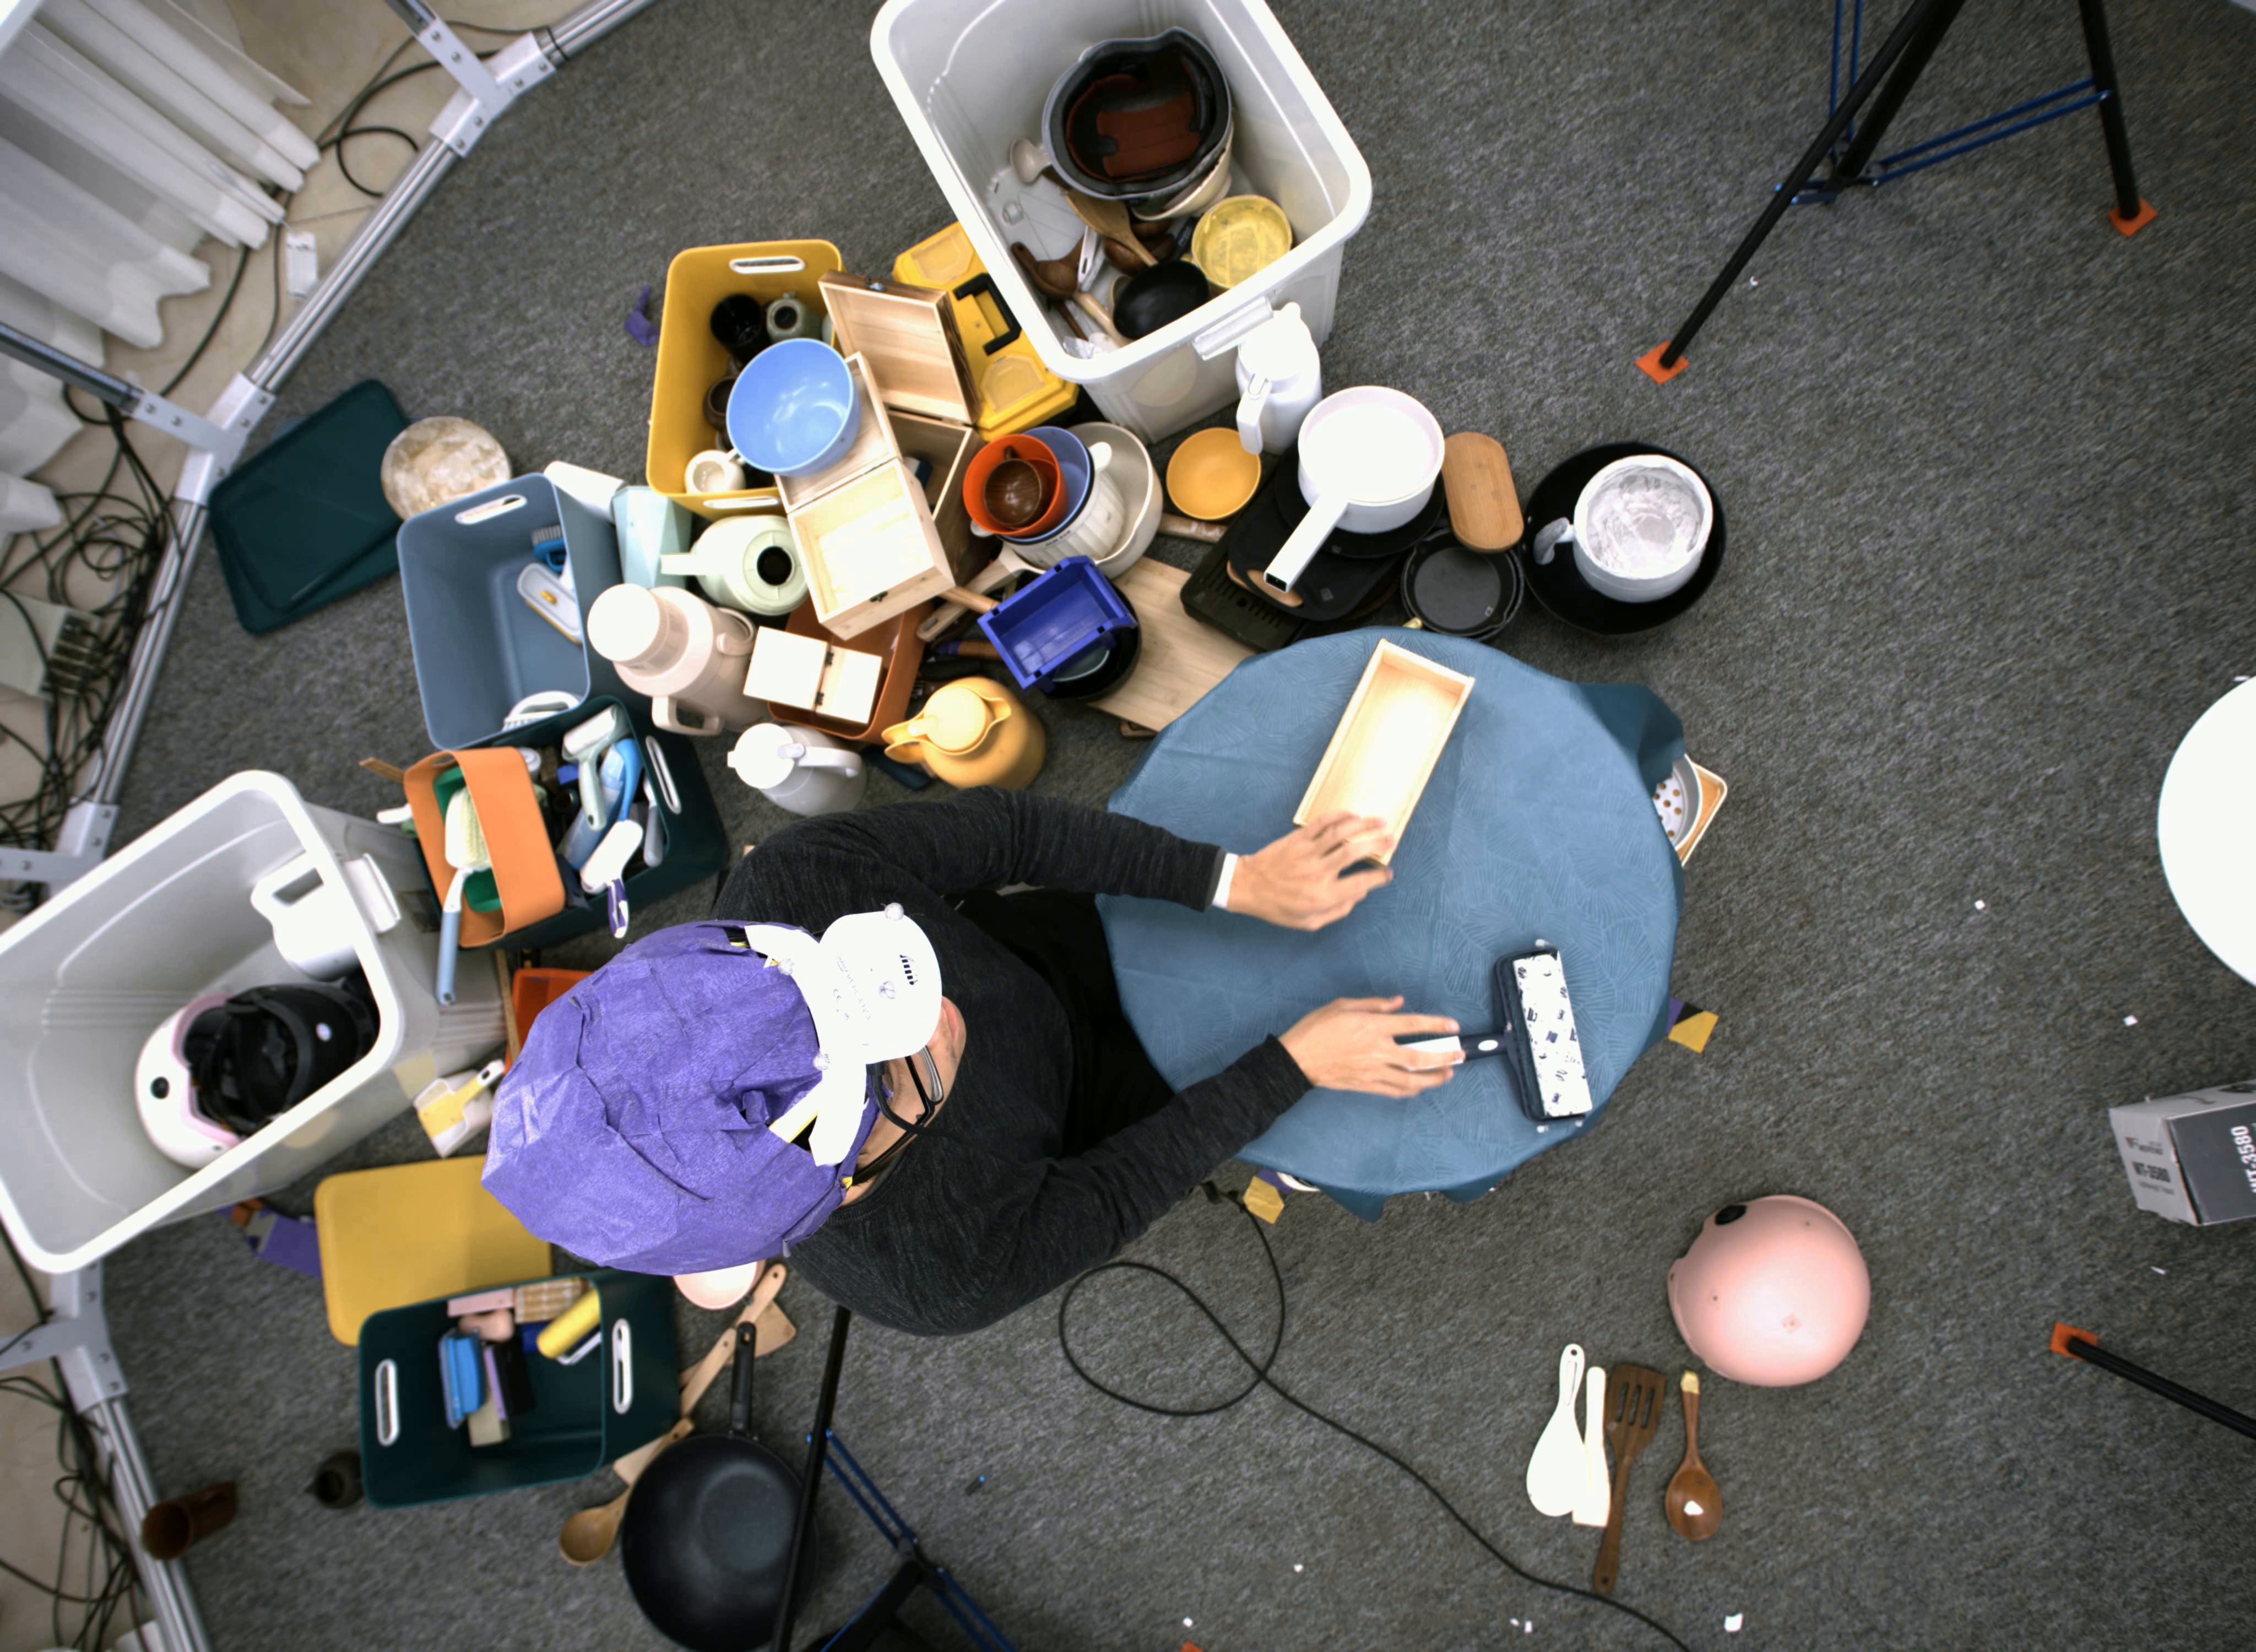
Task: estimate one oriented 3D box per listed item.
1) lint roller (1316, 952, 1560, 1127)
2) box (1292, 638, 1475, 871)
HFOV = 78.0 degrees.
[{"bbox_3d":[0.317,0.214,1.414,0.248,0.050,0.175,0,85,9],"label":"lint roller"},{"bbox_3d":[0.265,-0.074,1.429,0.107,0.080,0.211,25,91,11],"label":"box"}]
